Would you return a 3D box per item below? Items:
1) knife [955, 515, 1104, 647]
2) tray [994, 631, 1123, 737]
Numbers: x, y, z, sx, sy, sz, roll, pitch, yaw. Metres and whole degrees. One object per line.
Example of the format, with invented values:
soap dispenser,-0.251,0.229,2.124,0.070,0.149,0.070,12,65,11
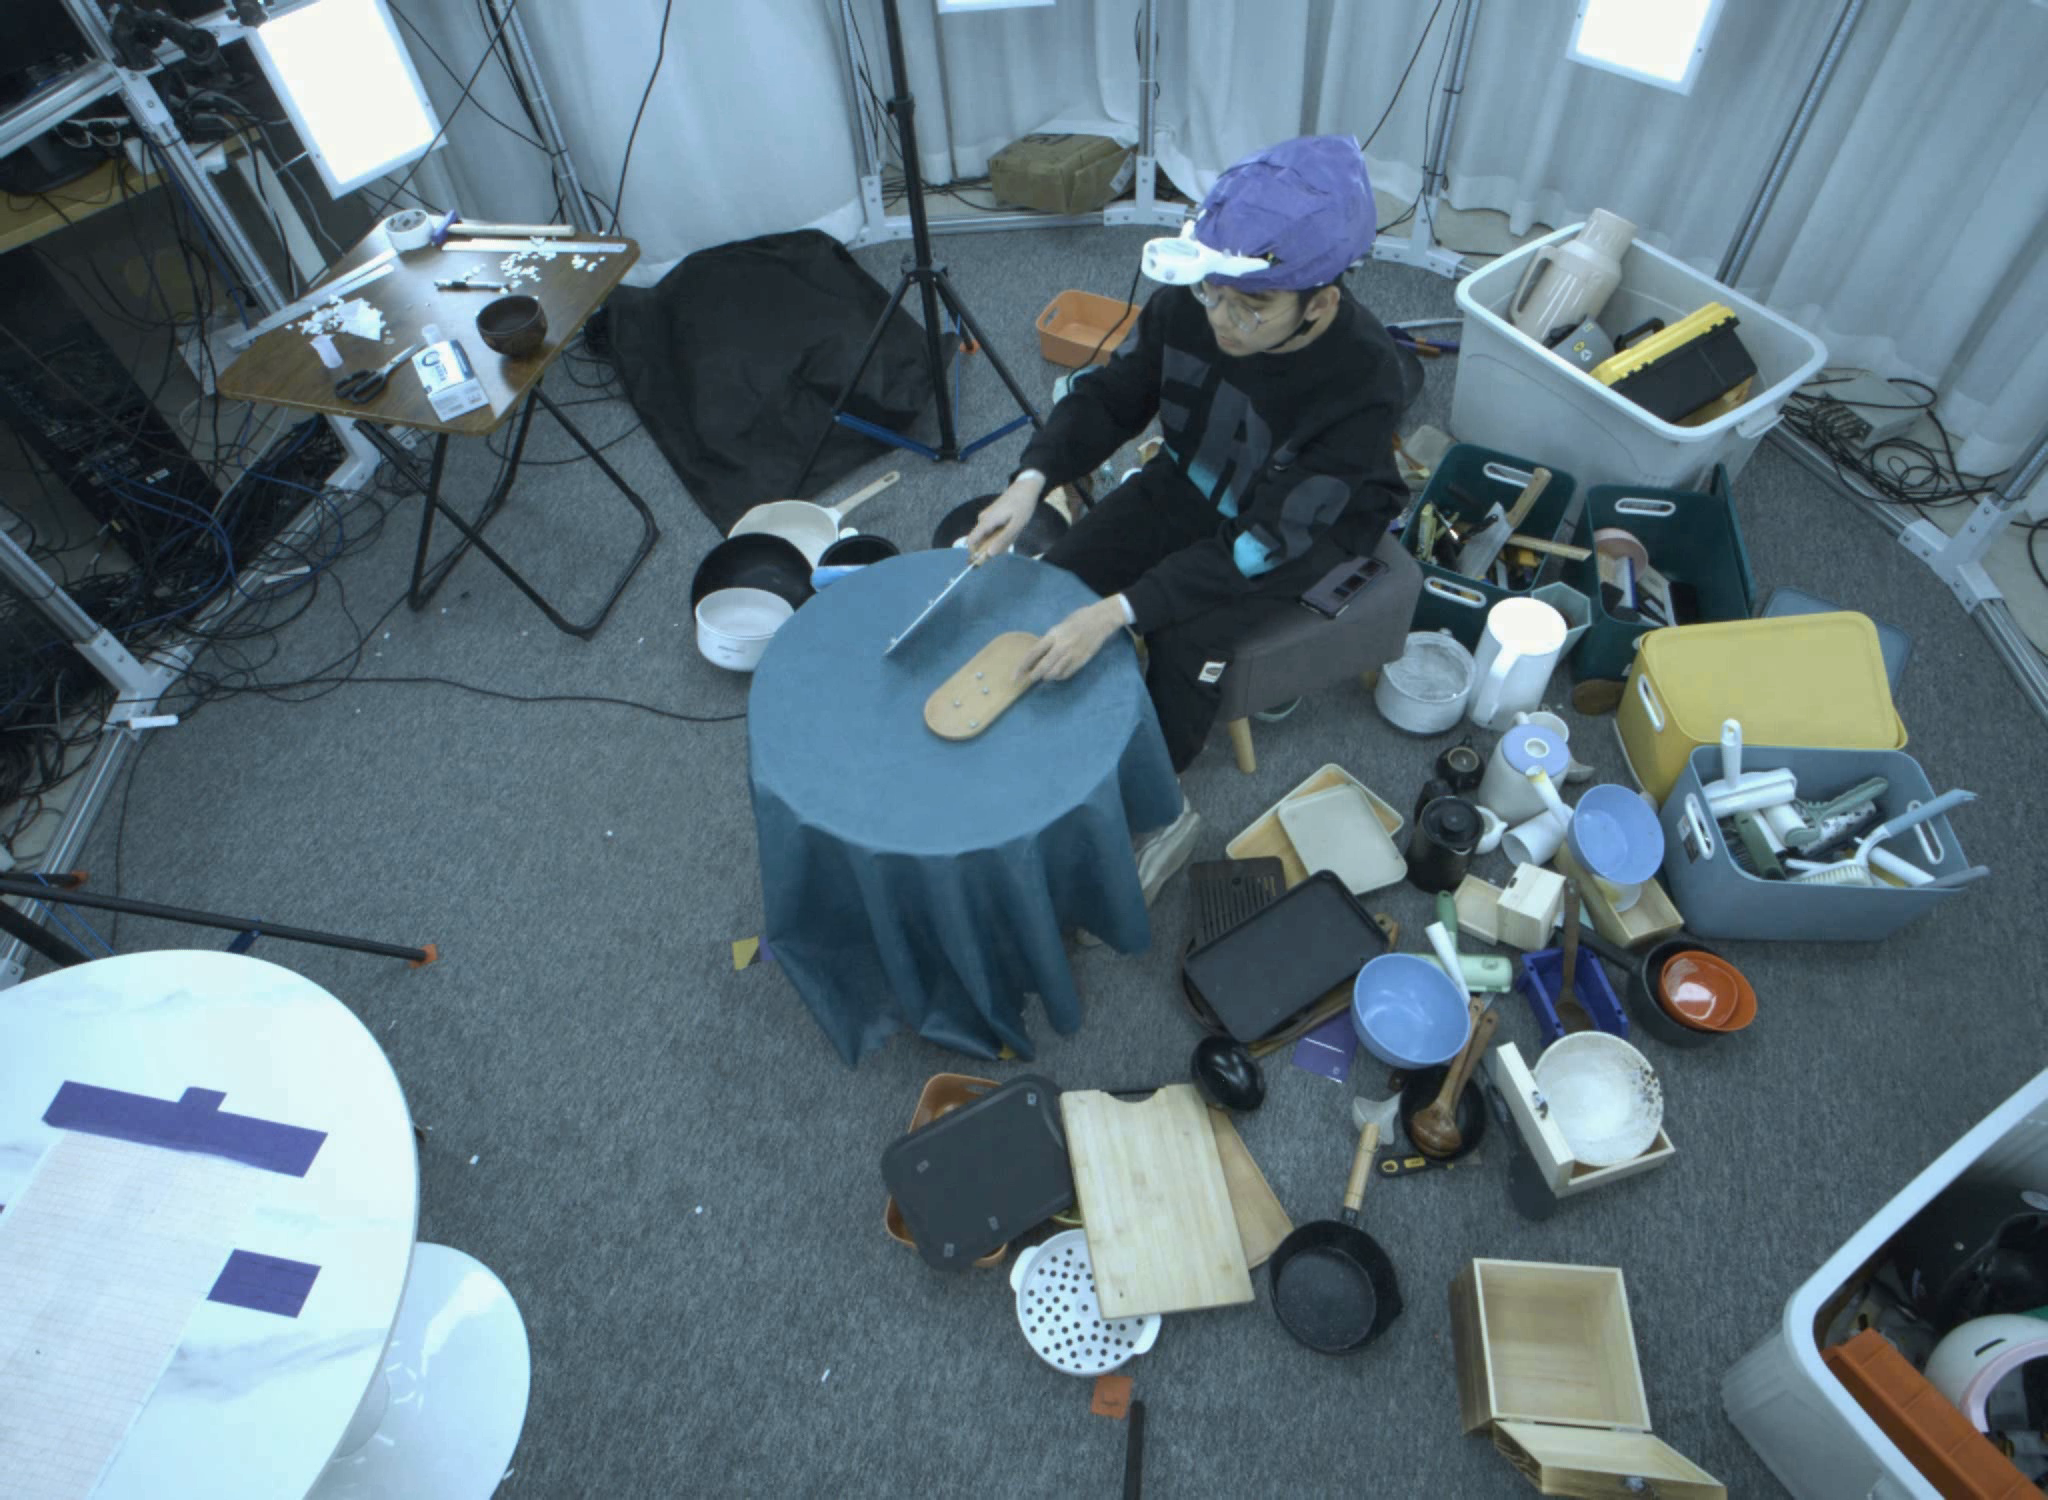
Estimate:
knife,0.005,-0.260,1.905,0.307,0.092,0.021,-44,97,-19
tray,0.053,-0.100,1.845,0.233,0.020,0.100,-39,63,-23
